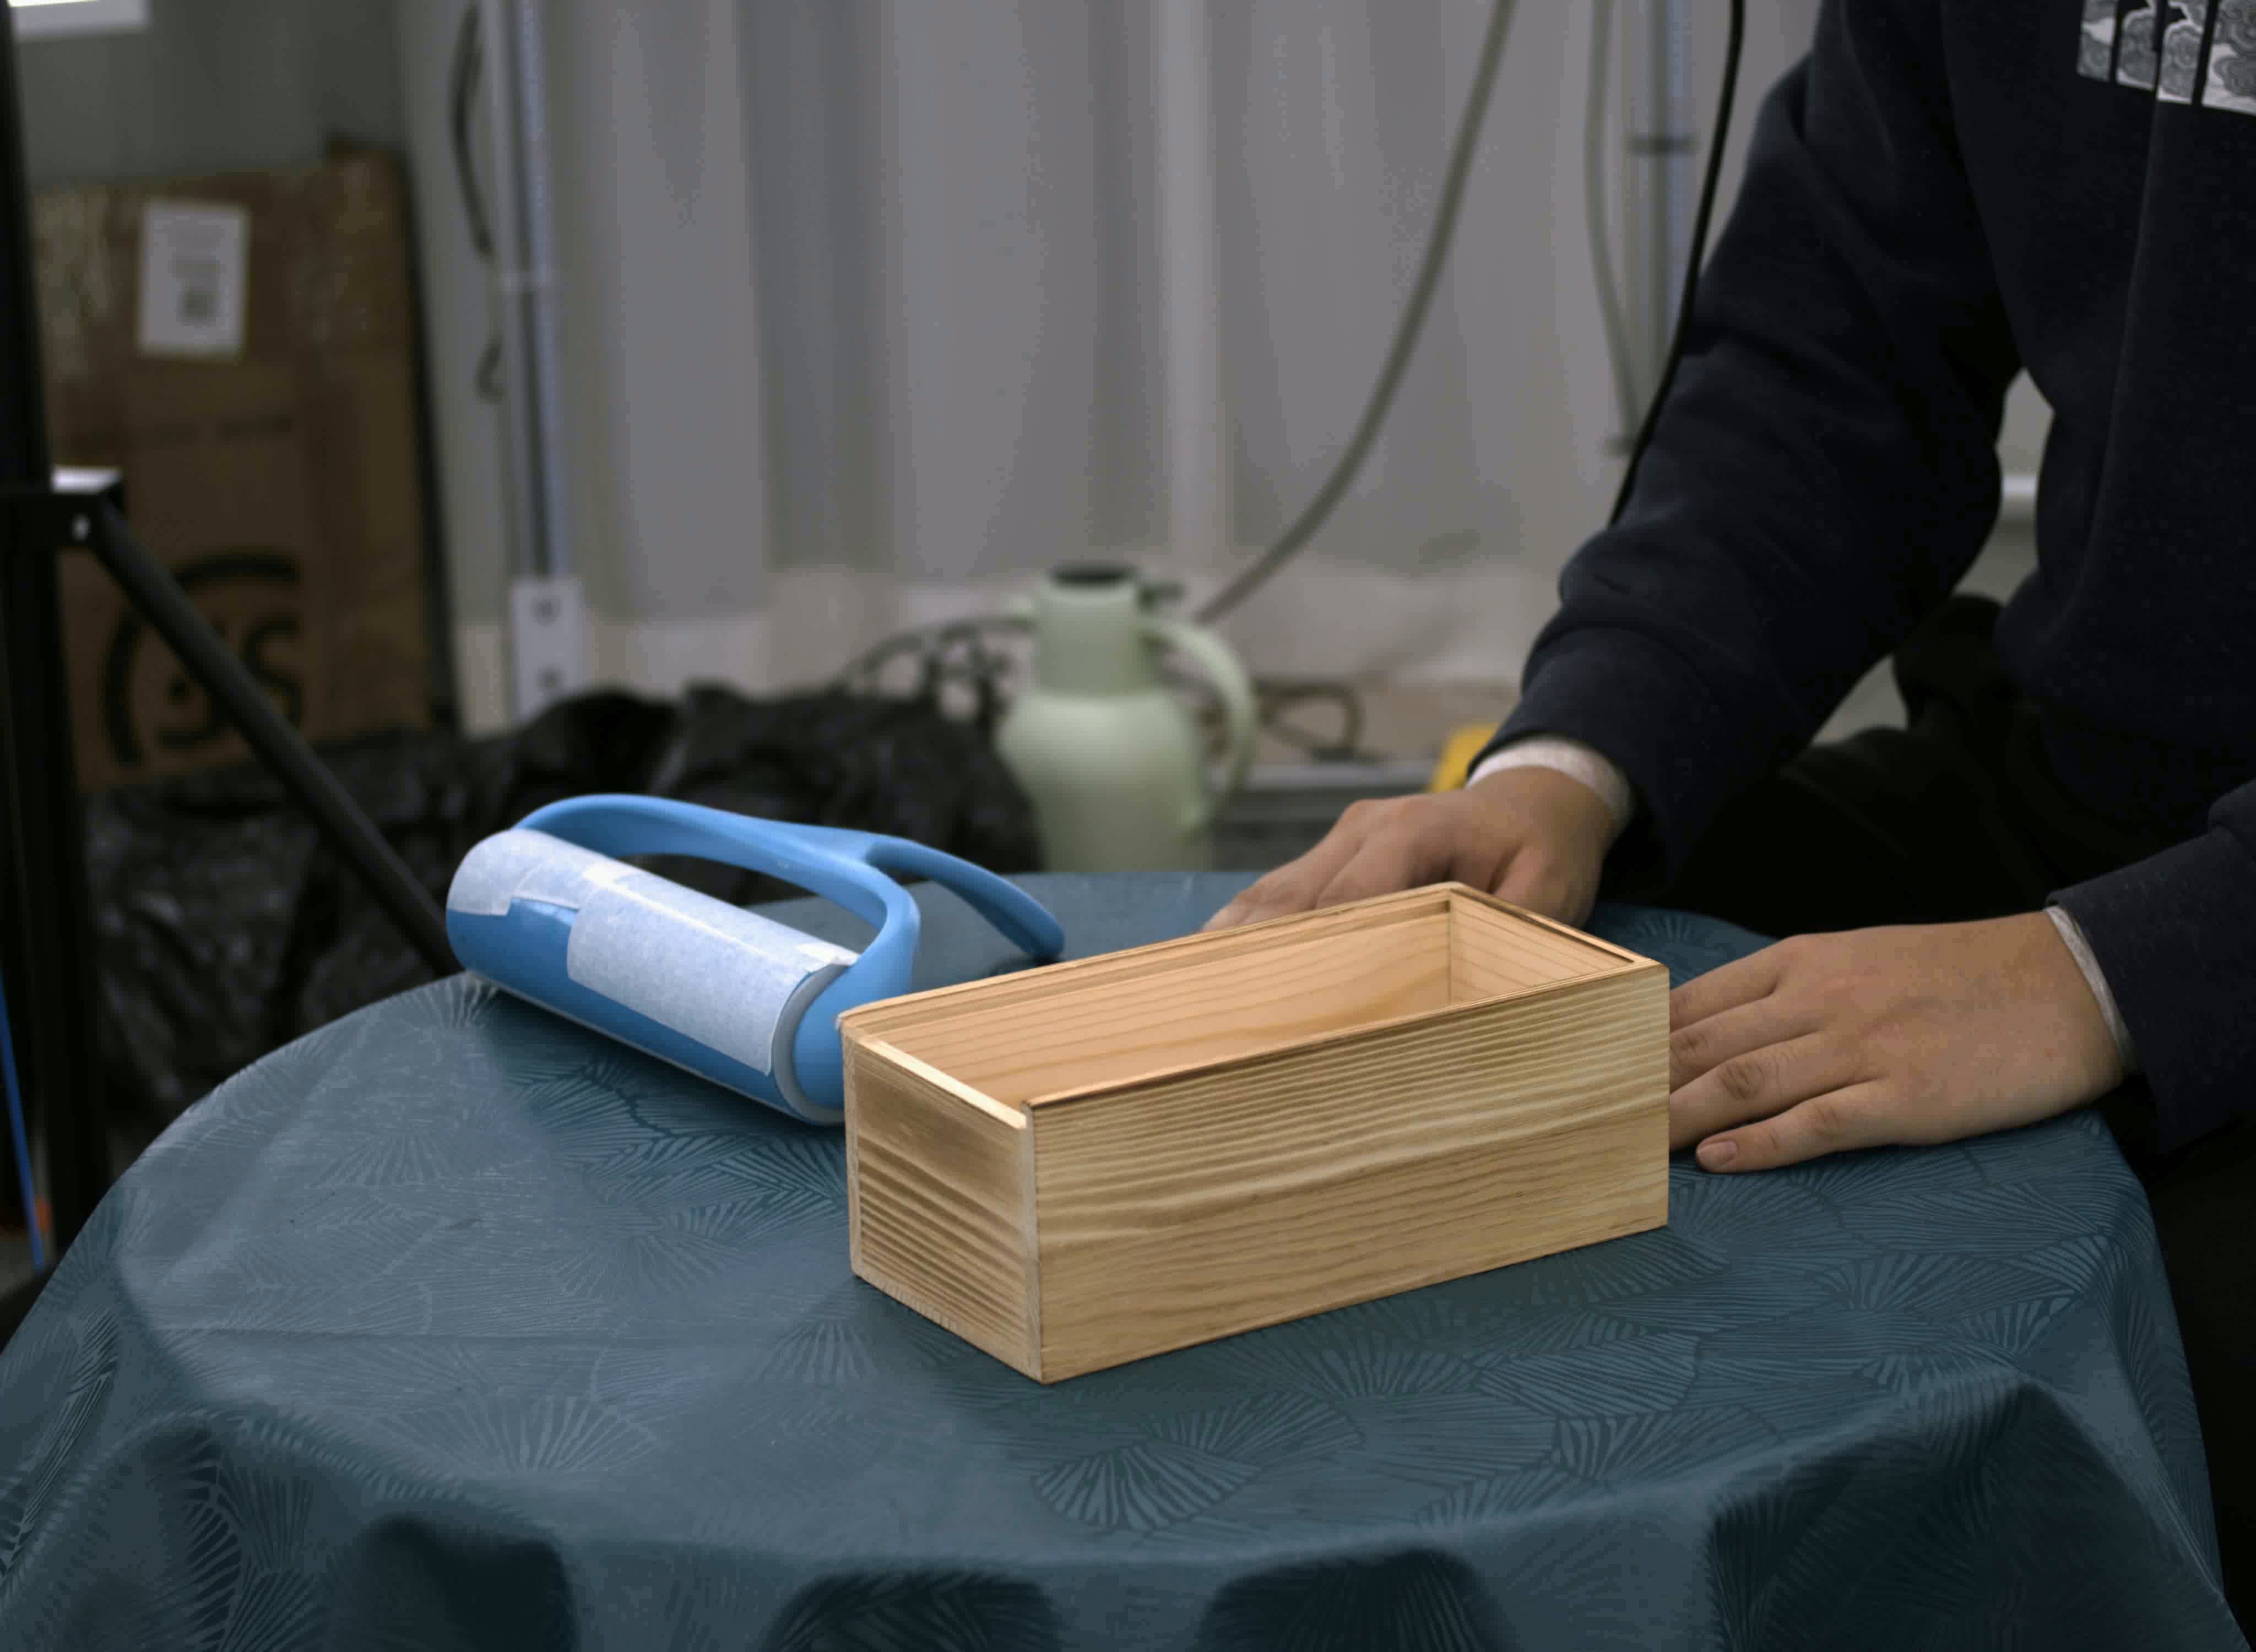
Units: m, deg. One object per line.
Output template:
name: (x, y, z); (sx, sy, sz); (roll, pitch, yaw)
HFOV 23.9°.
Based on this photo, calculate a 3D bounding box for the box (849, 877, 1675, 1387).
box: (0.039, 0.083, 1.495); (0.207, 0.080, 0.110); (-11, 18, -29)

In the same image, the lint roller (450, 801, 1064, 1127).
lint roller: (-0.099, 0.033, 1.727); (0.176, 0.068, 0.234); (-16, 19, -35)
